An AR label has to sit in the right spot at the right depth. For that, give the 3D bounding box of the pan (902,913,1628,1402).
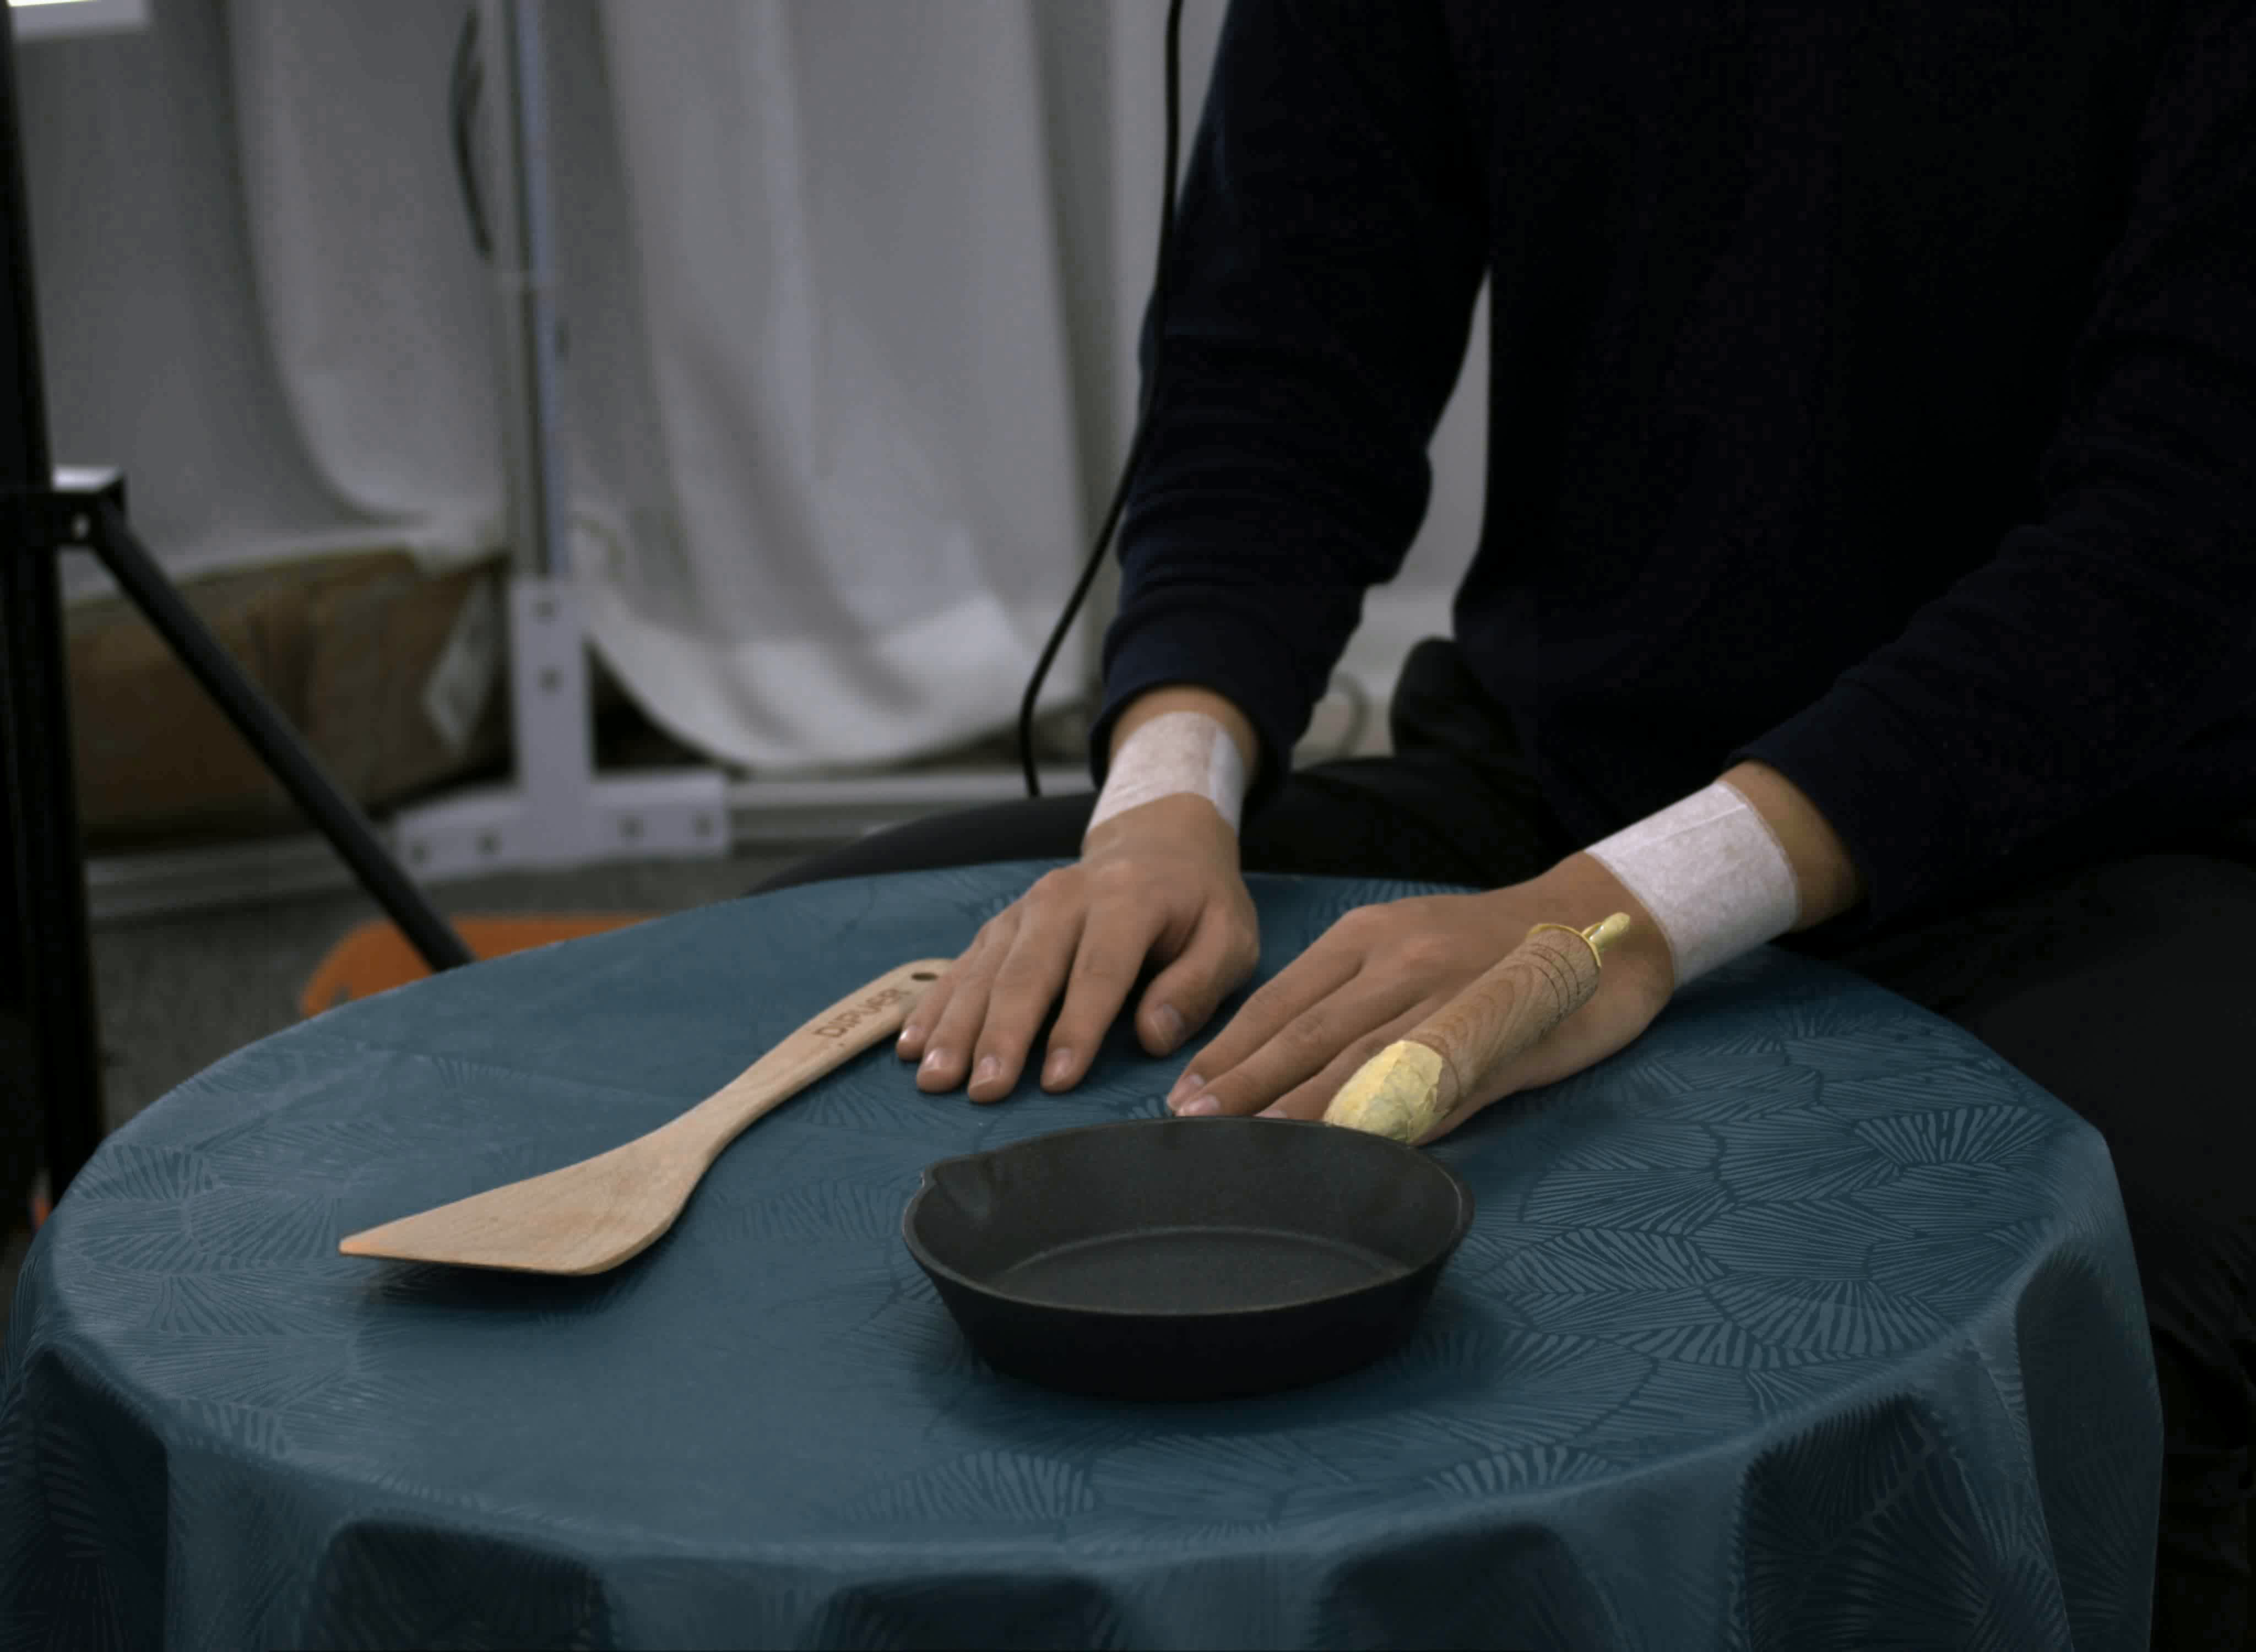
[{"bbox_3d":[0.064,0.091,1.515,0.172,0.049,0.318,8,21,34],"label":"pan"}]

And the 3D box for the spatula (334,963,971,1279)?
[{"bbox_3d":[-0.125,0.087,1.625,0.081,0.016,0.323,6,18,24],"label":"spatula"}]
